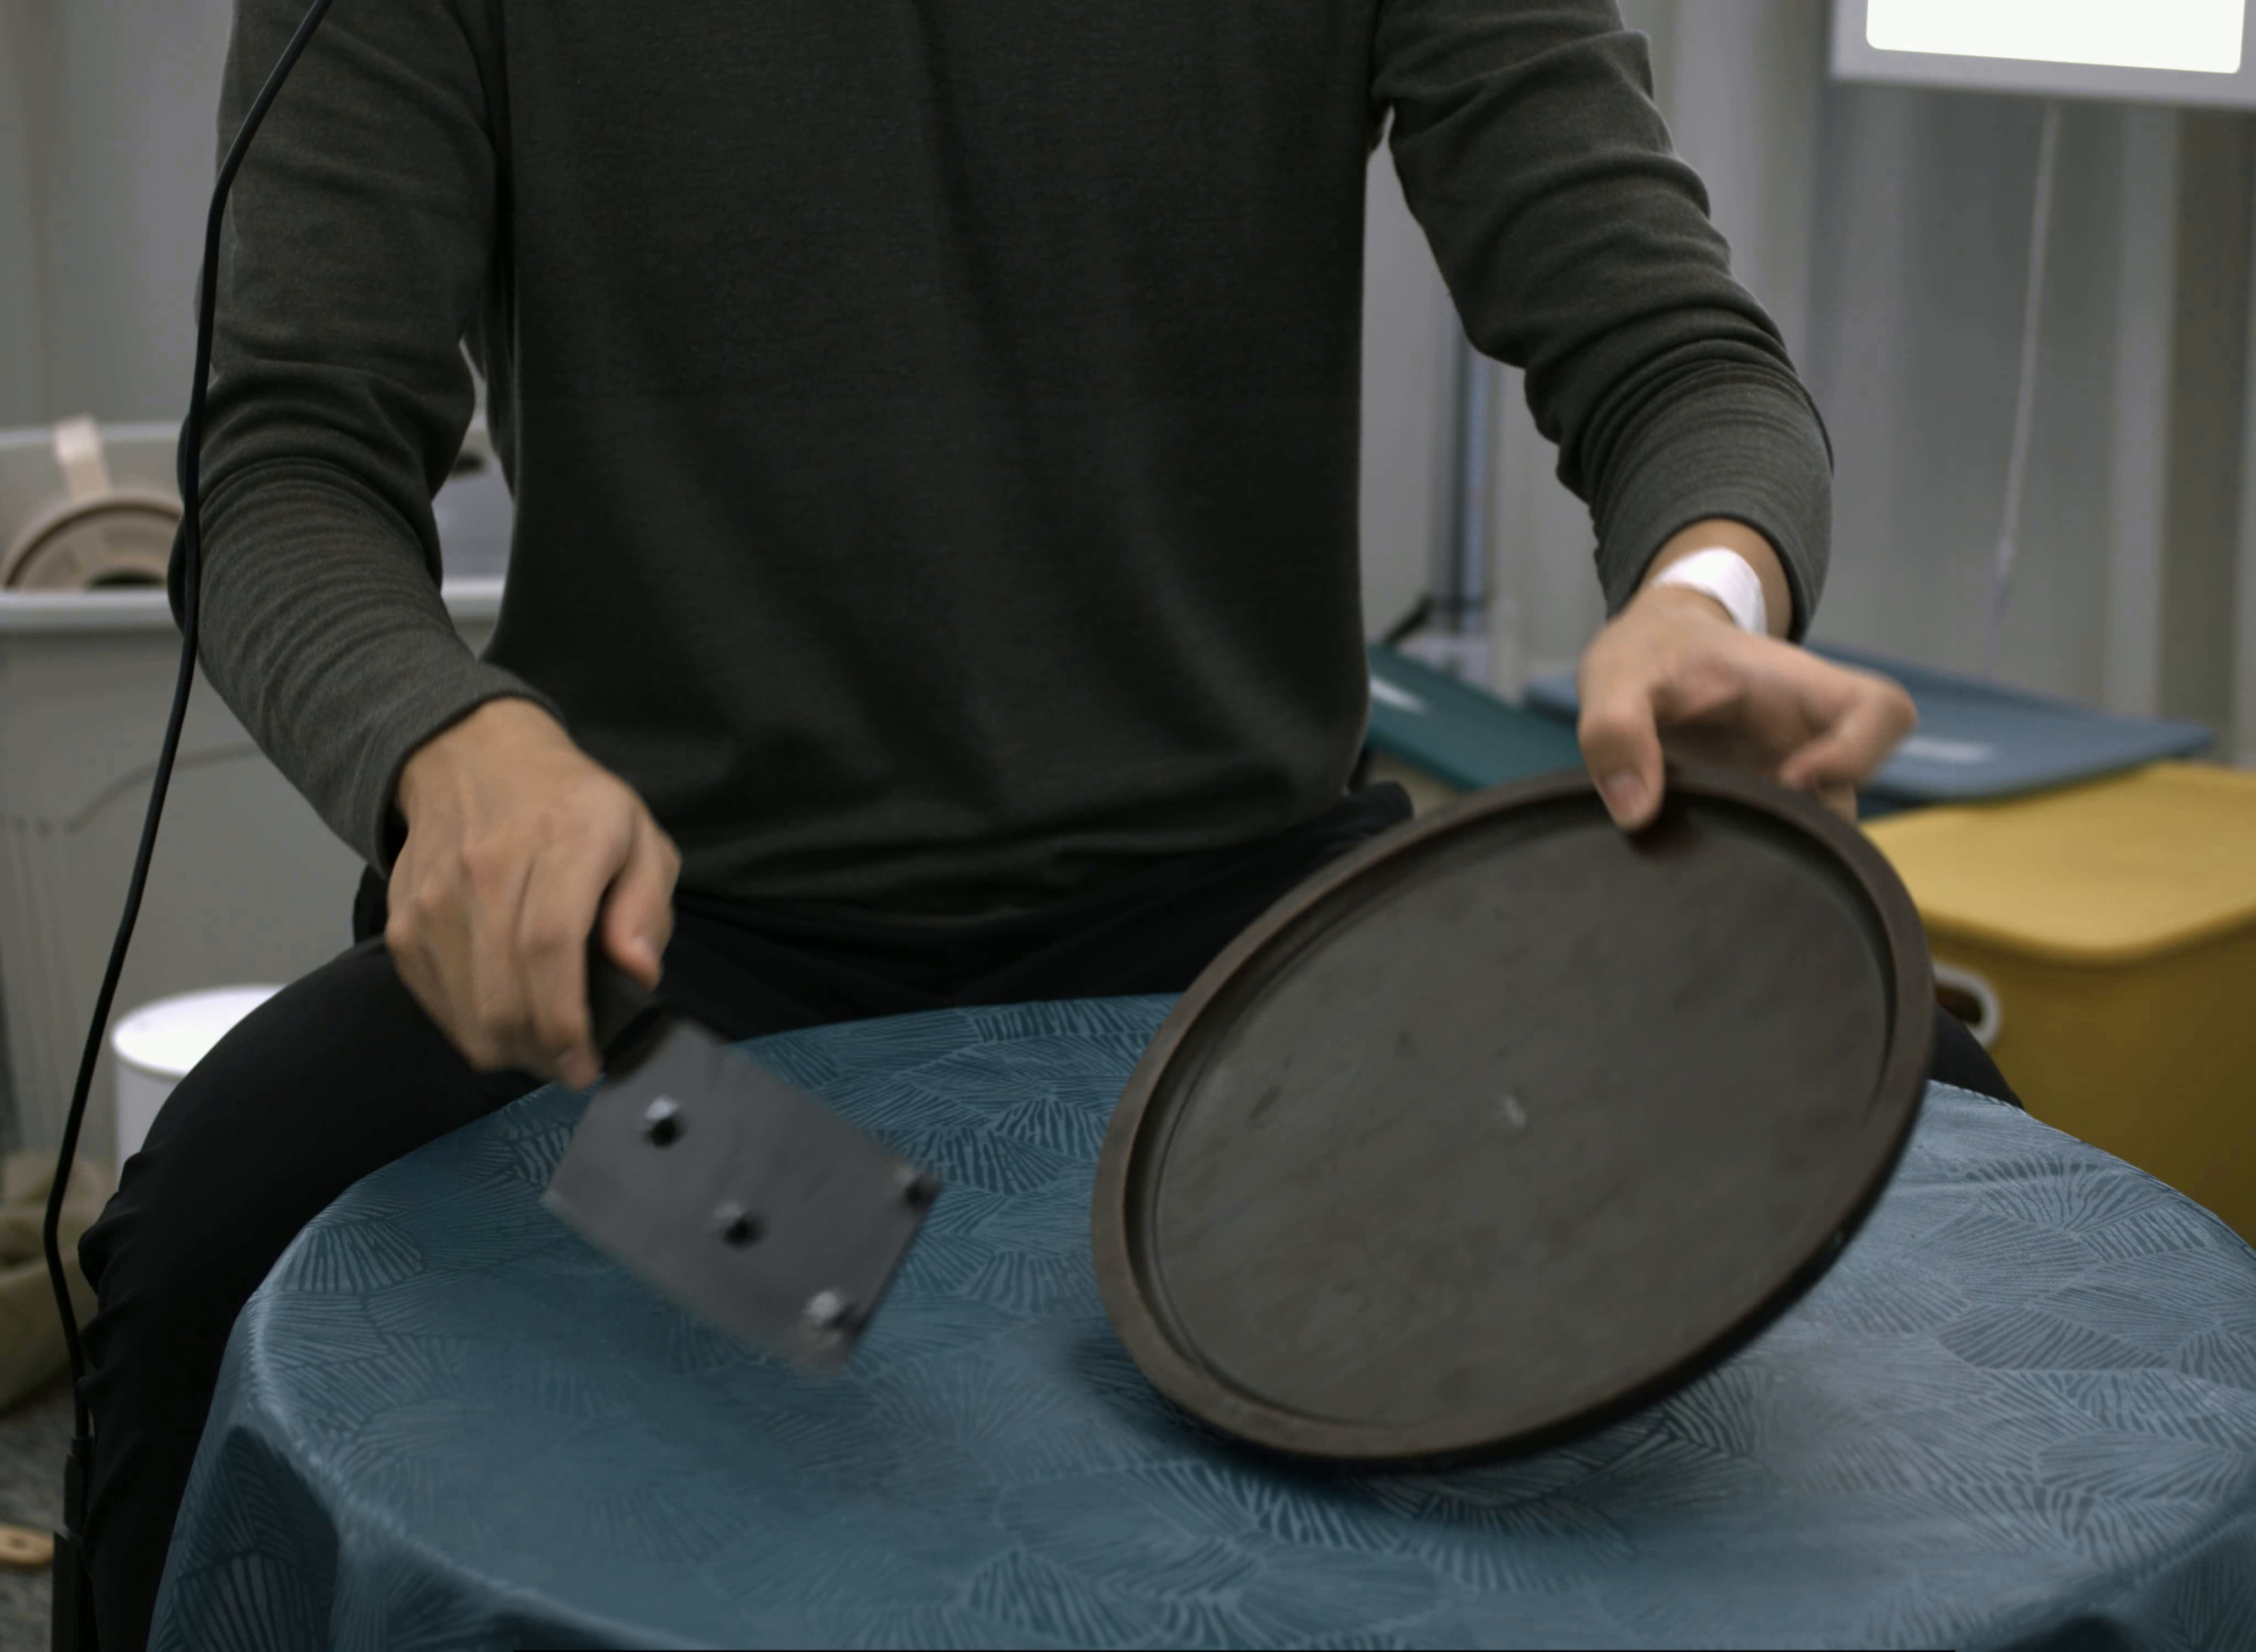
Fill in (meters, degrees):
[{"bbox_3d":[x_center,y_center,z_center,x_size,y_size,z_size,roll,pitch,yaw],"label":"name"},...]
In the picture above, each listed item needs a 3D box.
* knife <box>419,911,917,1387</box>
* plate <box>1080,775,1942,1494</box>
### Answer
[{"bbox_3d":[-0.139,0.083,1.486,0.021,0.081,0.298,31,2,-33],"label":"knife"},{"bbox_3d":[0.105,0.083,1.456,0.253,0.029,0.252,-18,41,17],"label":"plate"}]
